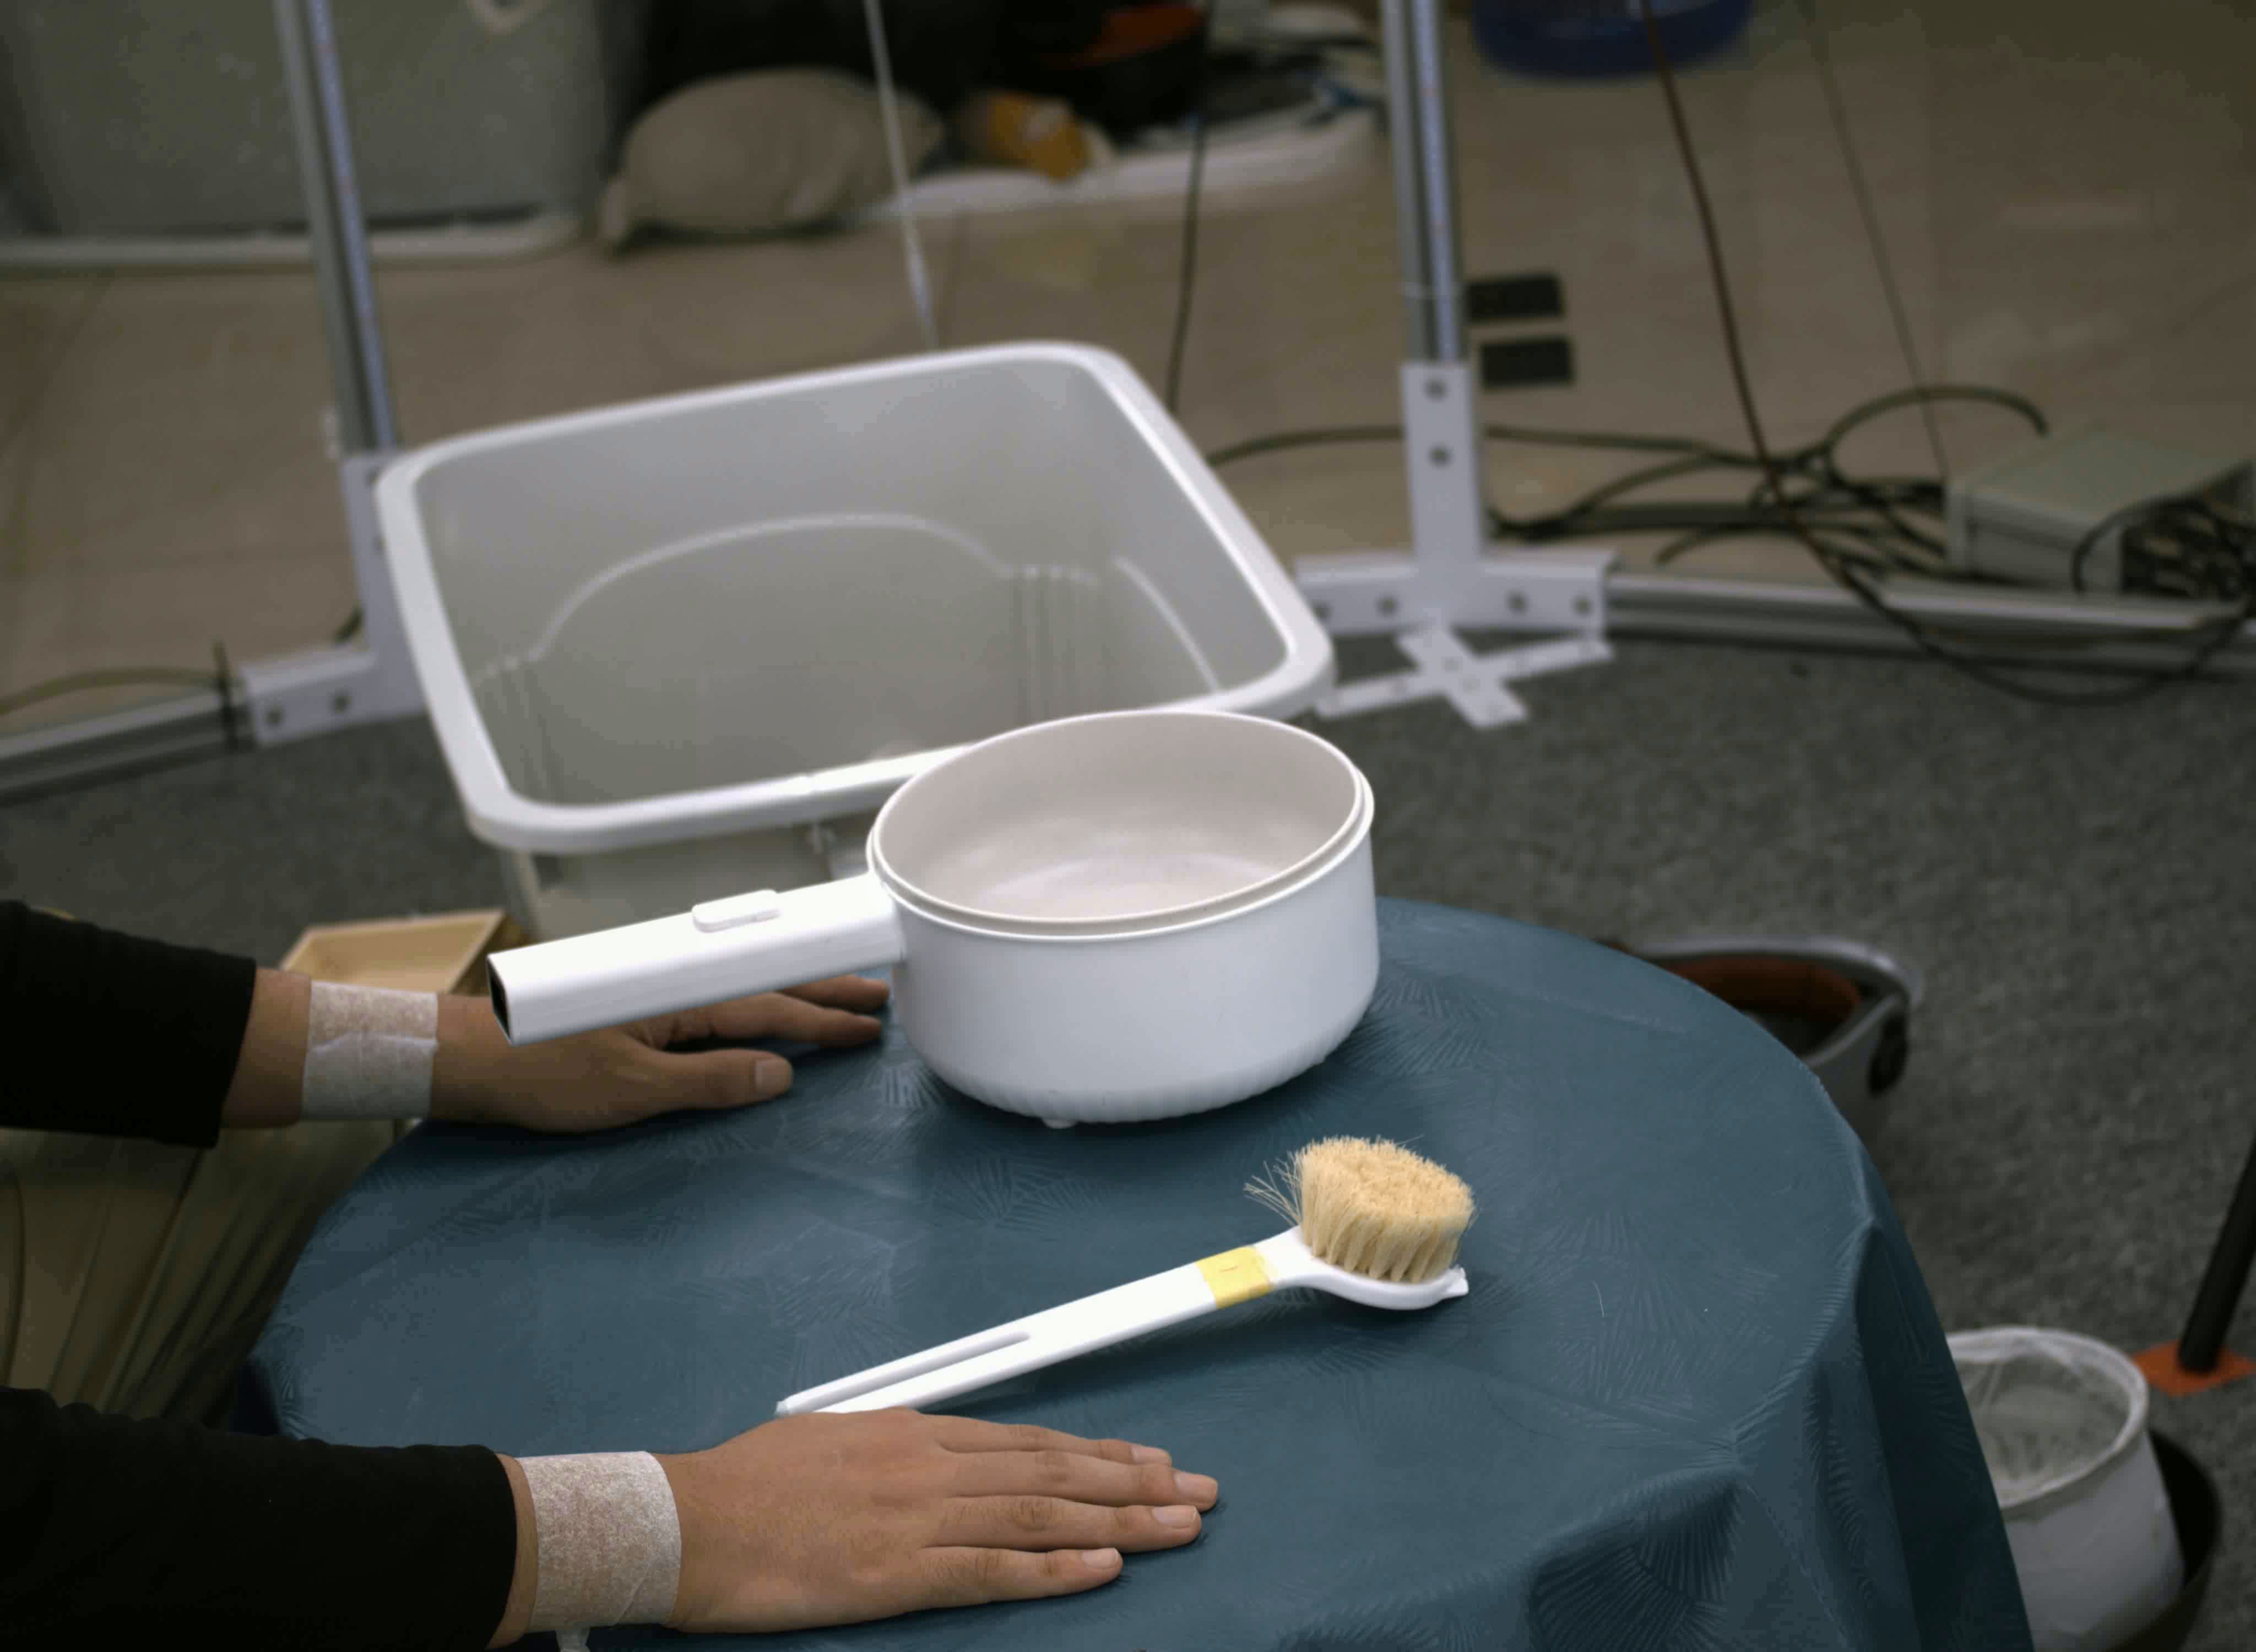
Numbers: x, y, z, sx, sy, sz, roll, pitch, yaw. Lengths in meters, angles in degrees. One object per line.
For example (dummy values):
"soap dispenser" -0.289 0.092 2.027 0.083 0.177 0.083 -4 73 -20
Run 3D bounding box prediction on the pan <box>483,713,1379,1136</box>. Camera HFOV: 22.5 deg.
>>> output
"pan" -0.072 0.060 2.223 0.353 0.104 0.198 -14 27 -14

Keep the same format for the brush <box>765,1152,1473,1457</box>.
"brush" -0.003 0.168 2.022 0.266 0.057 0.068 -13 22 -10
